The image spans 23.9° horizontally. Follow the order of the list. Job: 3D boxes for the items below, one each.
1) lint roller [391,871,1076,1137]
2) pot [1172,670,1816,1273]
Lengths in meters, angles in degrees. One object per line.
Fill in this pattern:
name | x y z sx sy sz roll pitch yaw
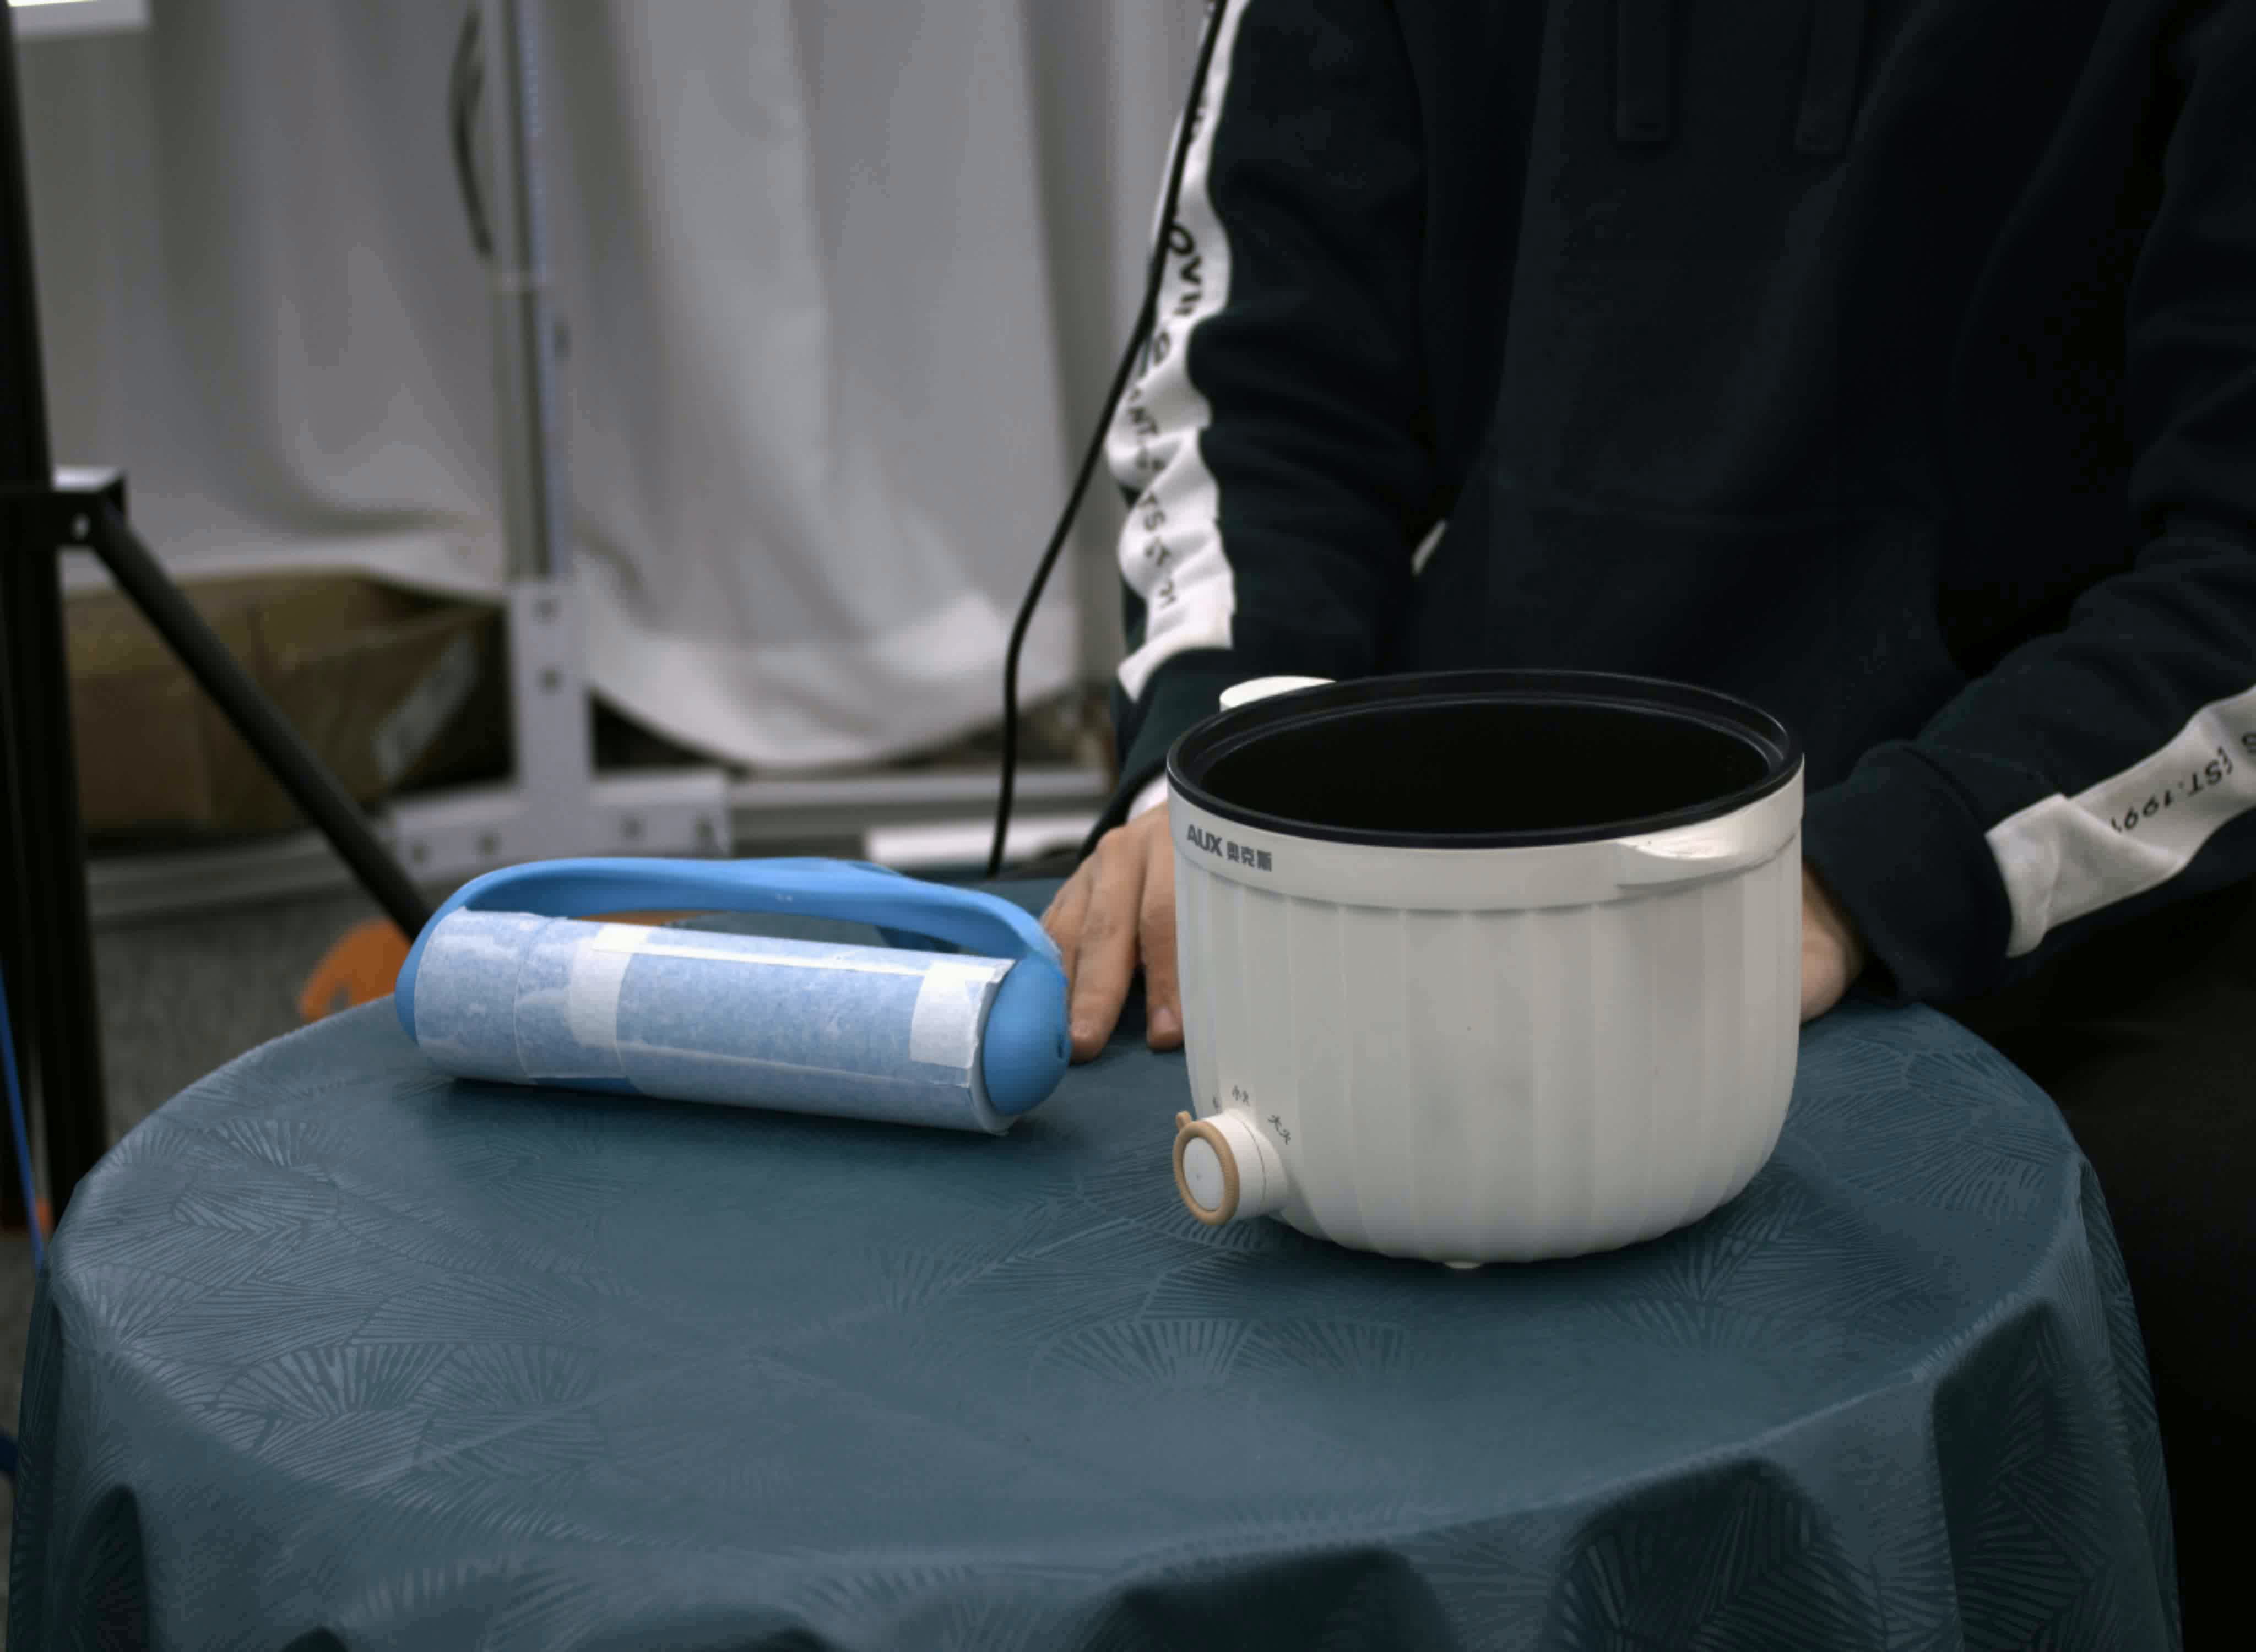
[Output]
lint roller | -0.105 0.045 1.699 0.232 0.068 0.178 1 17 21
pot | 0.100 0.044 1.514 0.186 0.143 0.246 -8 15 -31
